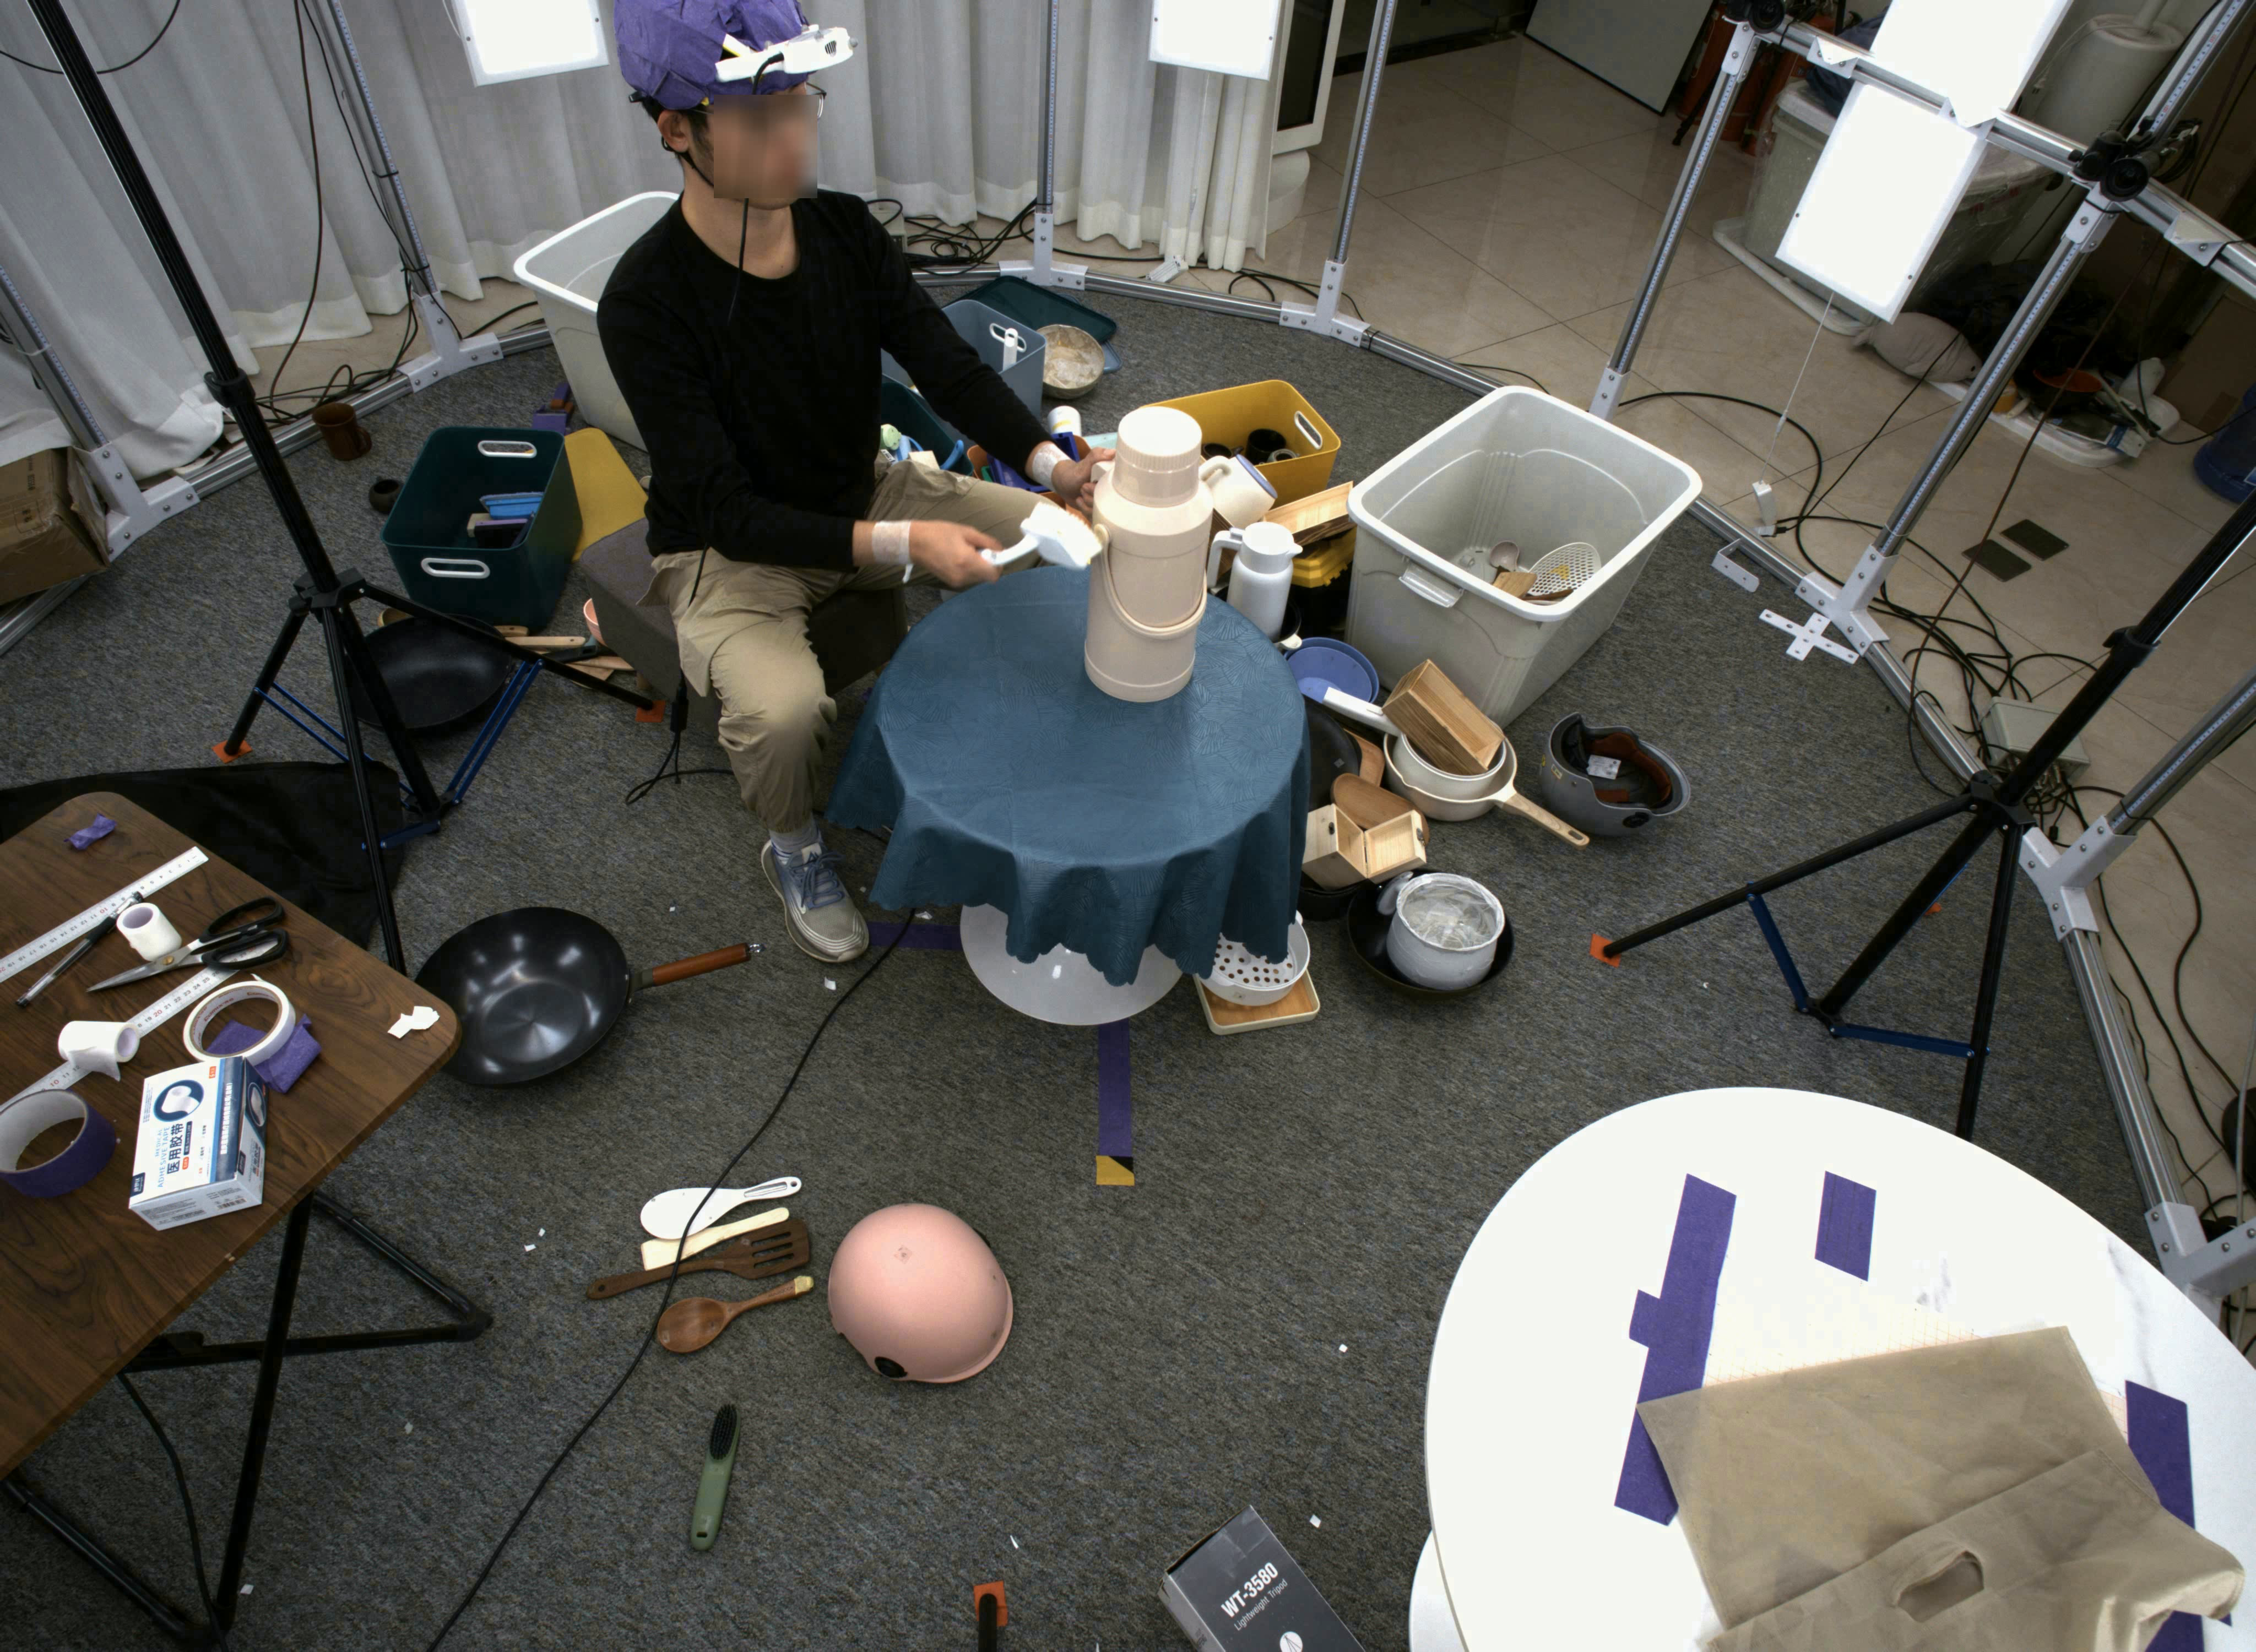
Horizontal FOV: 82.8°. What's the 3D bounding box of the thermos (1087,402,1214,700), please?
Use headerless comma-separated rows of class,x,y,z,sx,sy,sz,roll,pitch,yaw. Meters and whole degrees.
thermos,0.021,-0.373,1.739,0.176,0.396,0.211,-30,58,-25

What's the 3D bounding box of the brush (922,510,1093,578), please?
brush,-0.159,-0.379,1.719,0.085,0.082,0.329,-20,24,-39
